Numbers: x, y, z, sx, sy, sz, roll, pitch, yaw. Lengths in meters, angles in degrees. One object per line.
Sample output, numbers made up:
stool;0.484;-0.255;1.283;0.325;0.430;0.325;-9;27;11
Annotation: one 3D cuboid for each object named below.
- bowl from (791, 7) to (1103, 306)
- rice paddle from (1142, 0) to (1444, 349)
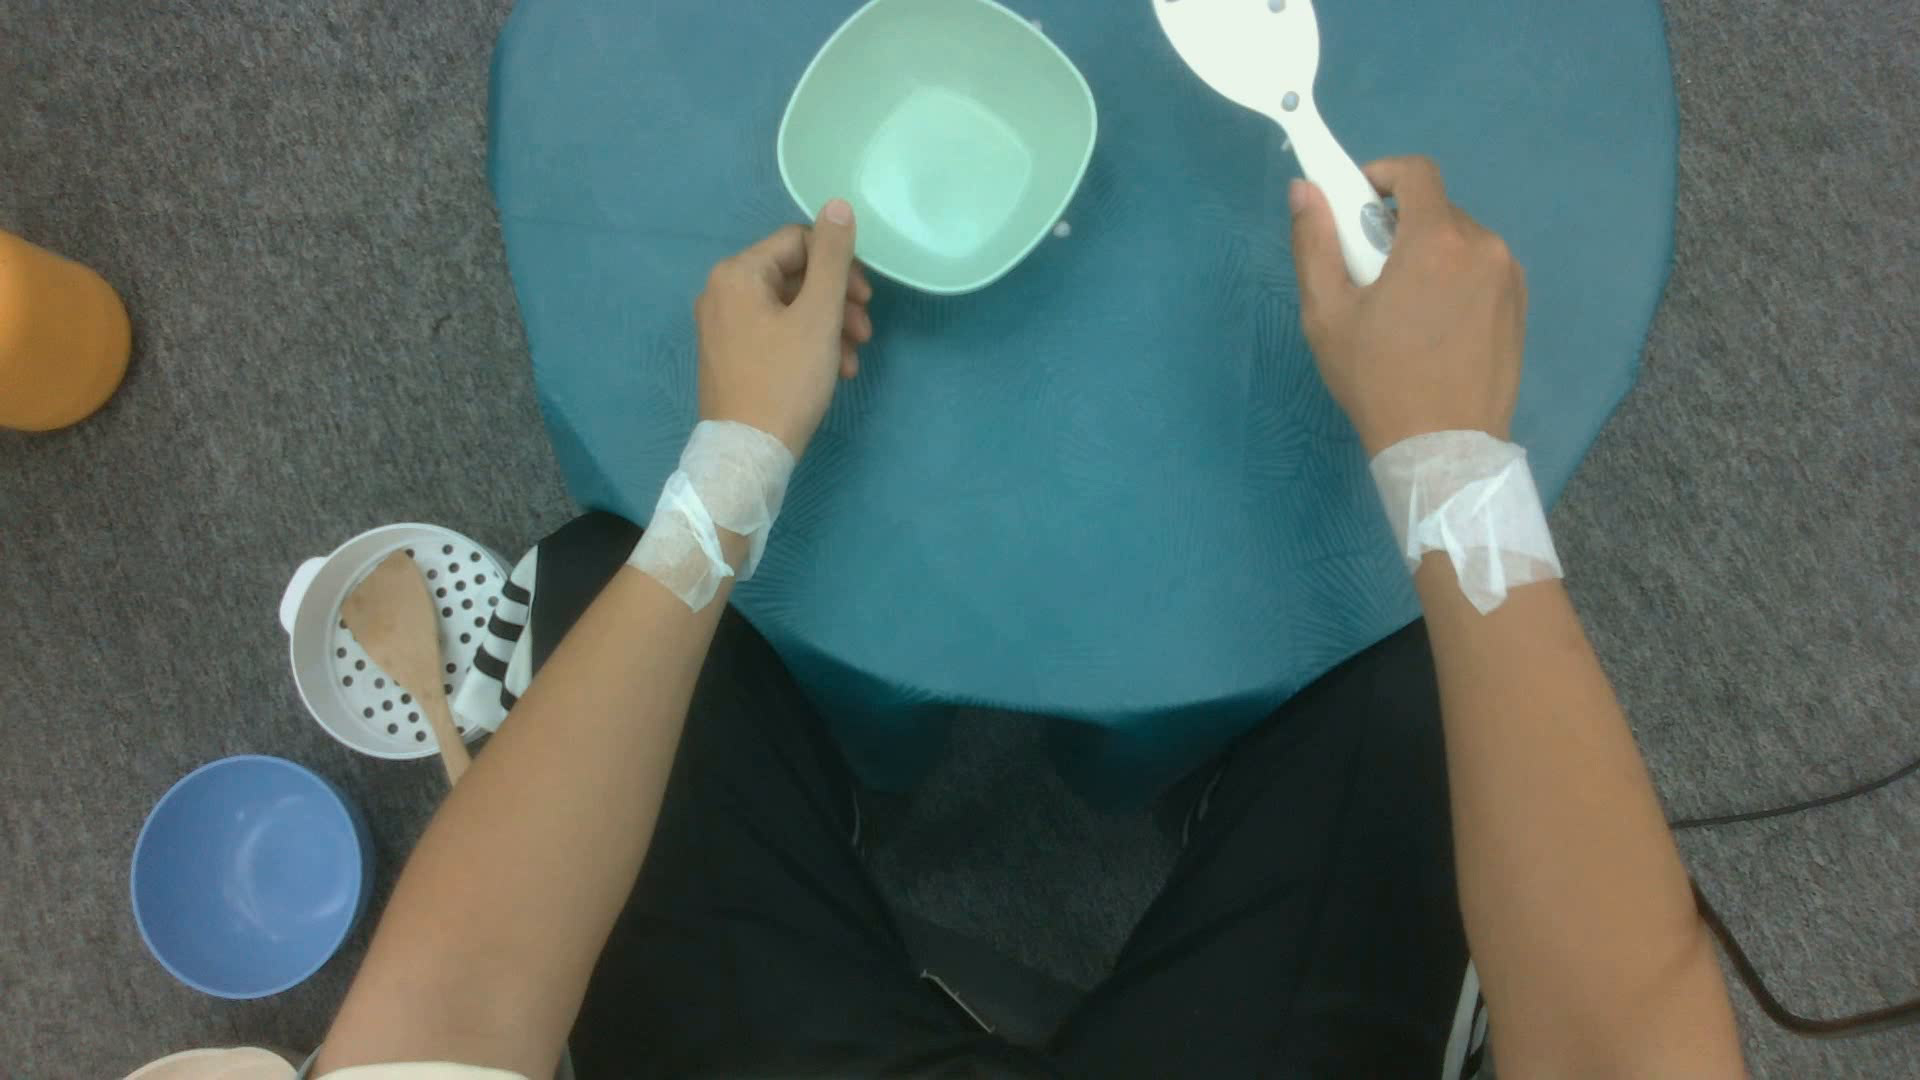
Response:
bowl;-0.006;-0.182;0.687;0.151;0.058;0.151;0;82;1
rice paddle;0.148;-0.179;0.618;0.069;0.029;0.205;-27;80;-13
